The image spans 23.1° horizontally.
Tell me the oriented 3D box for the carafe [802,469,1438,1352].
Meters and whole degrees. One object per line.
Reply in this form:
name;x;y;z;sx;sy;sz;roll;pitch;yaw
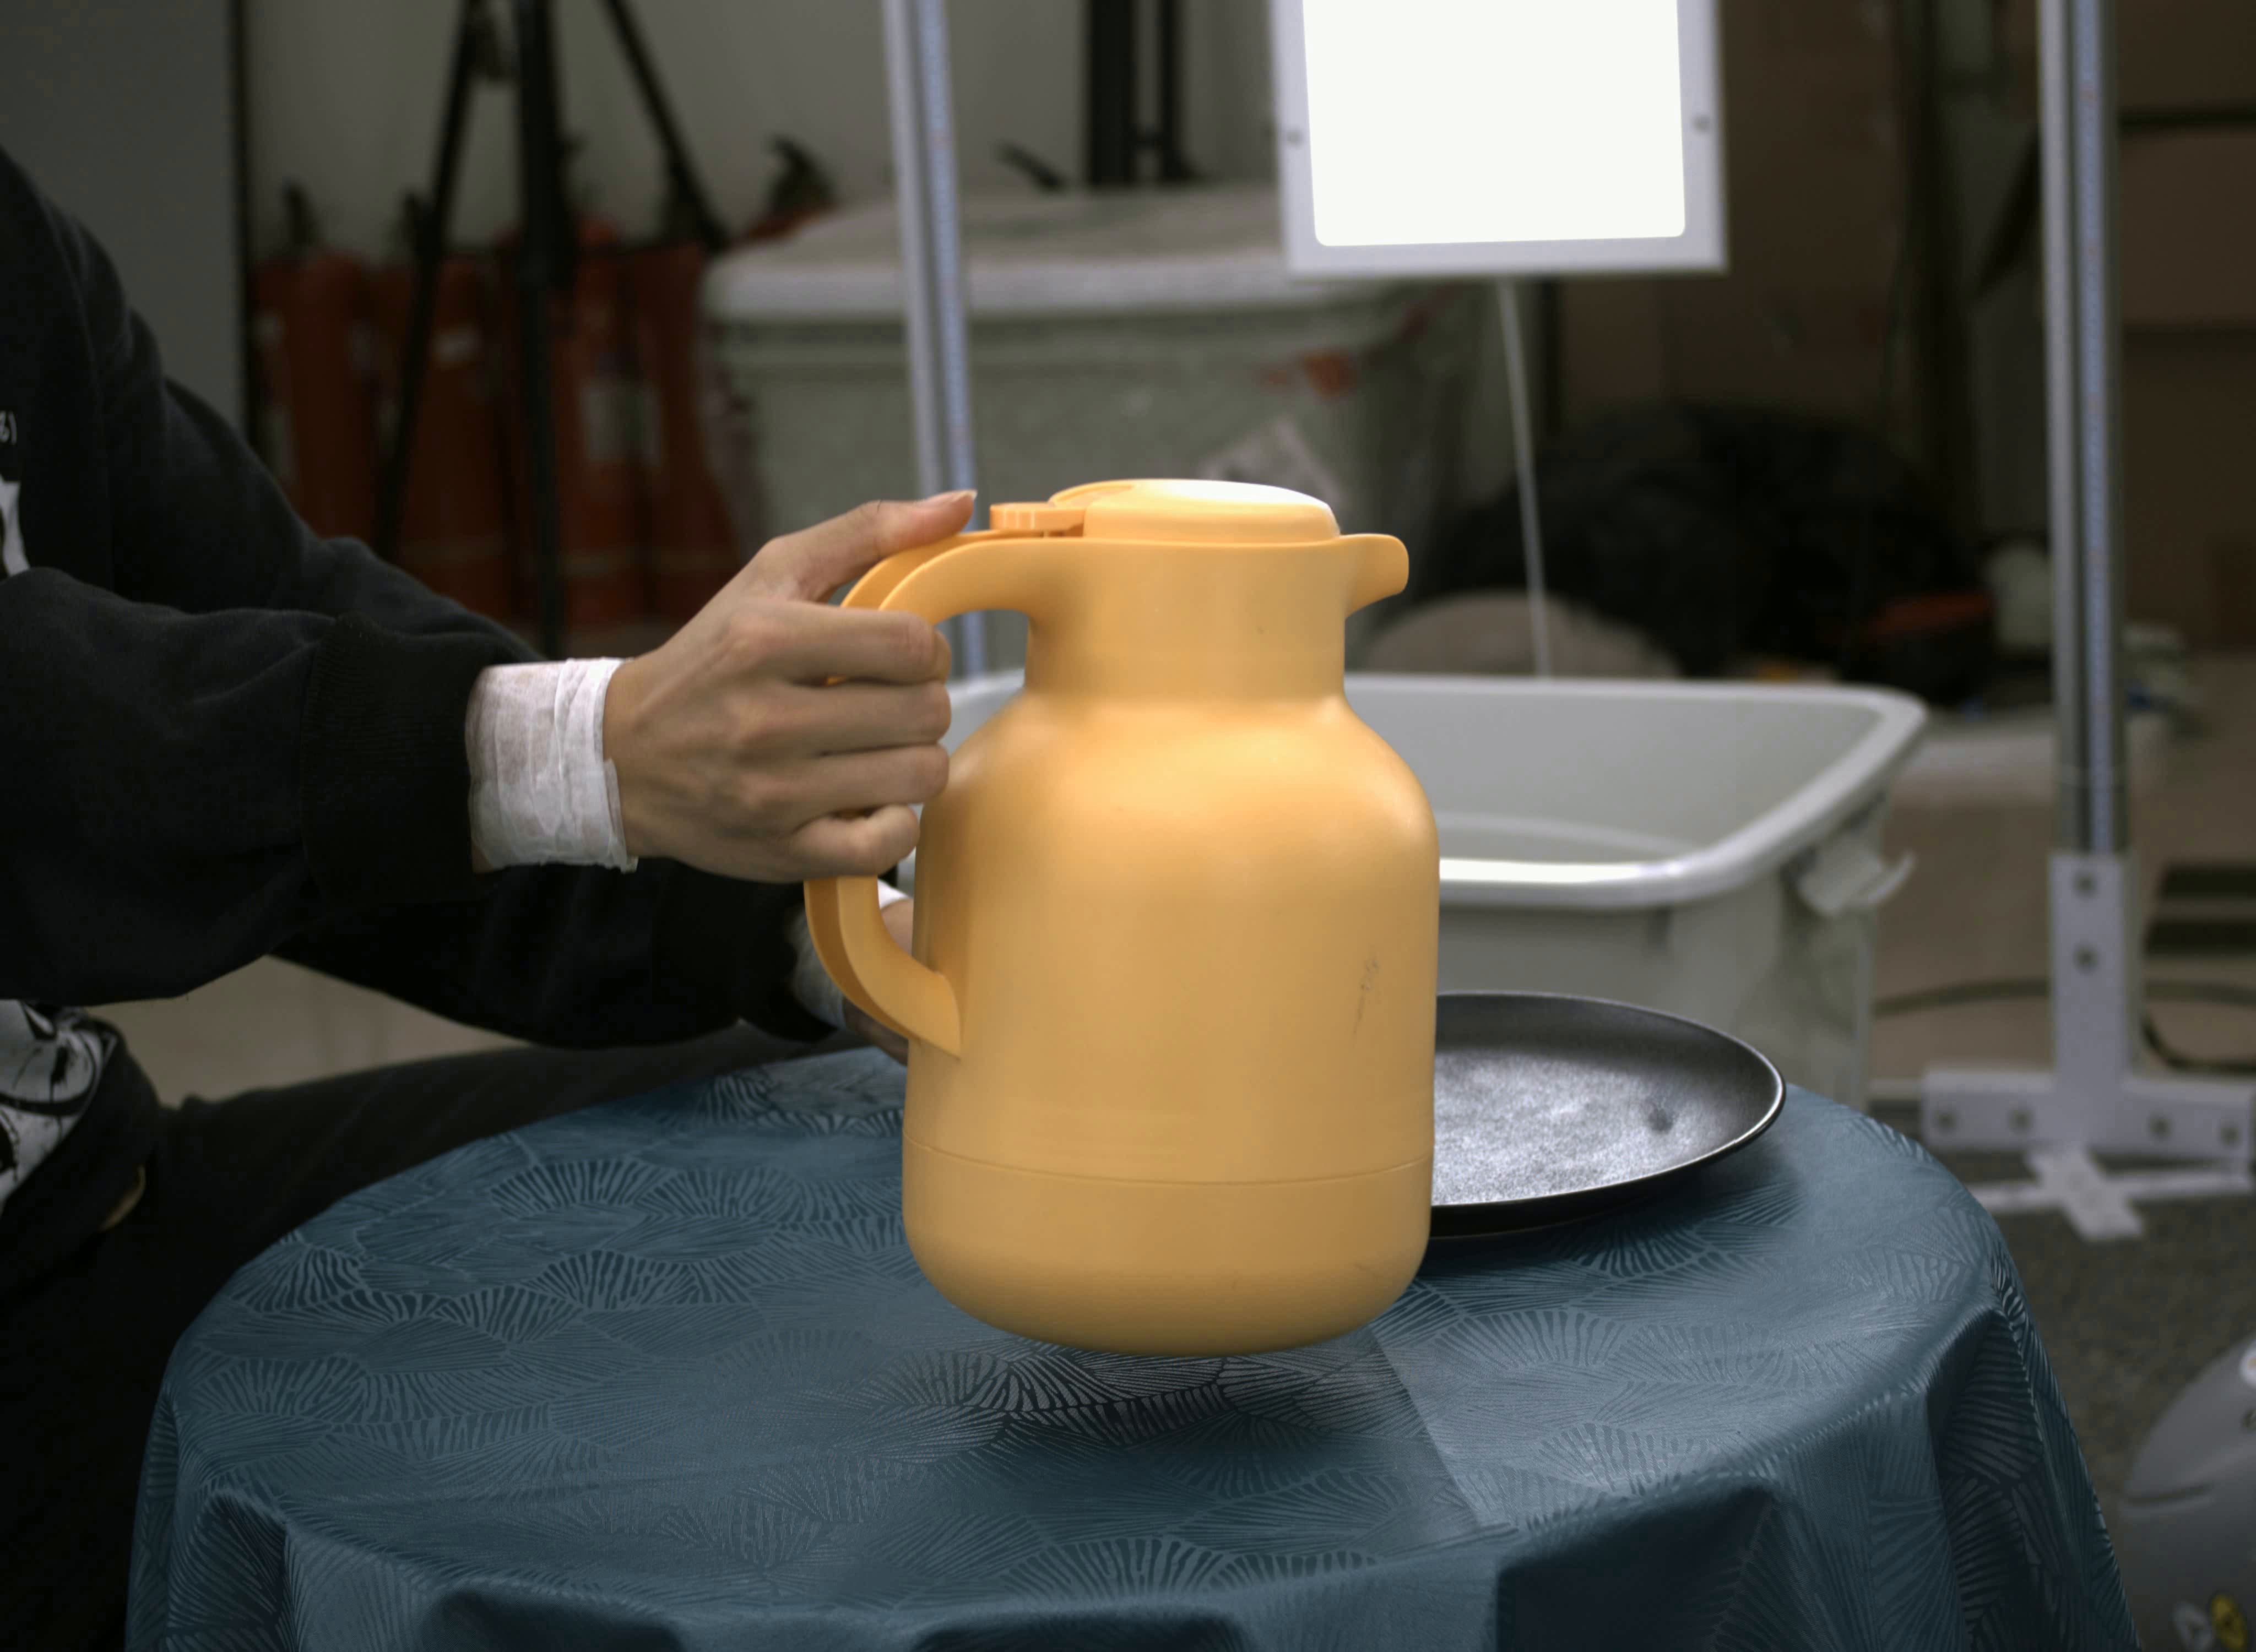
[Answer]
carafe;-0.004;0.022;1.667;0.198;0.261;0.166;0;6;-24

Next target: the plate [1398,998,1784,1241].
plate;0.106;0.103;1.899;0.244;0.023;0.244;-4;14;0
